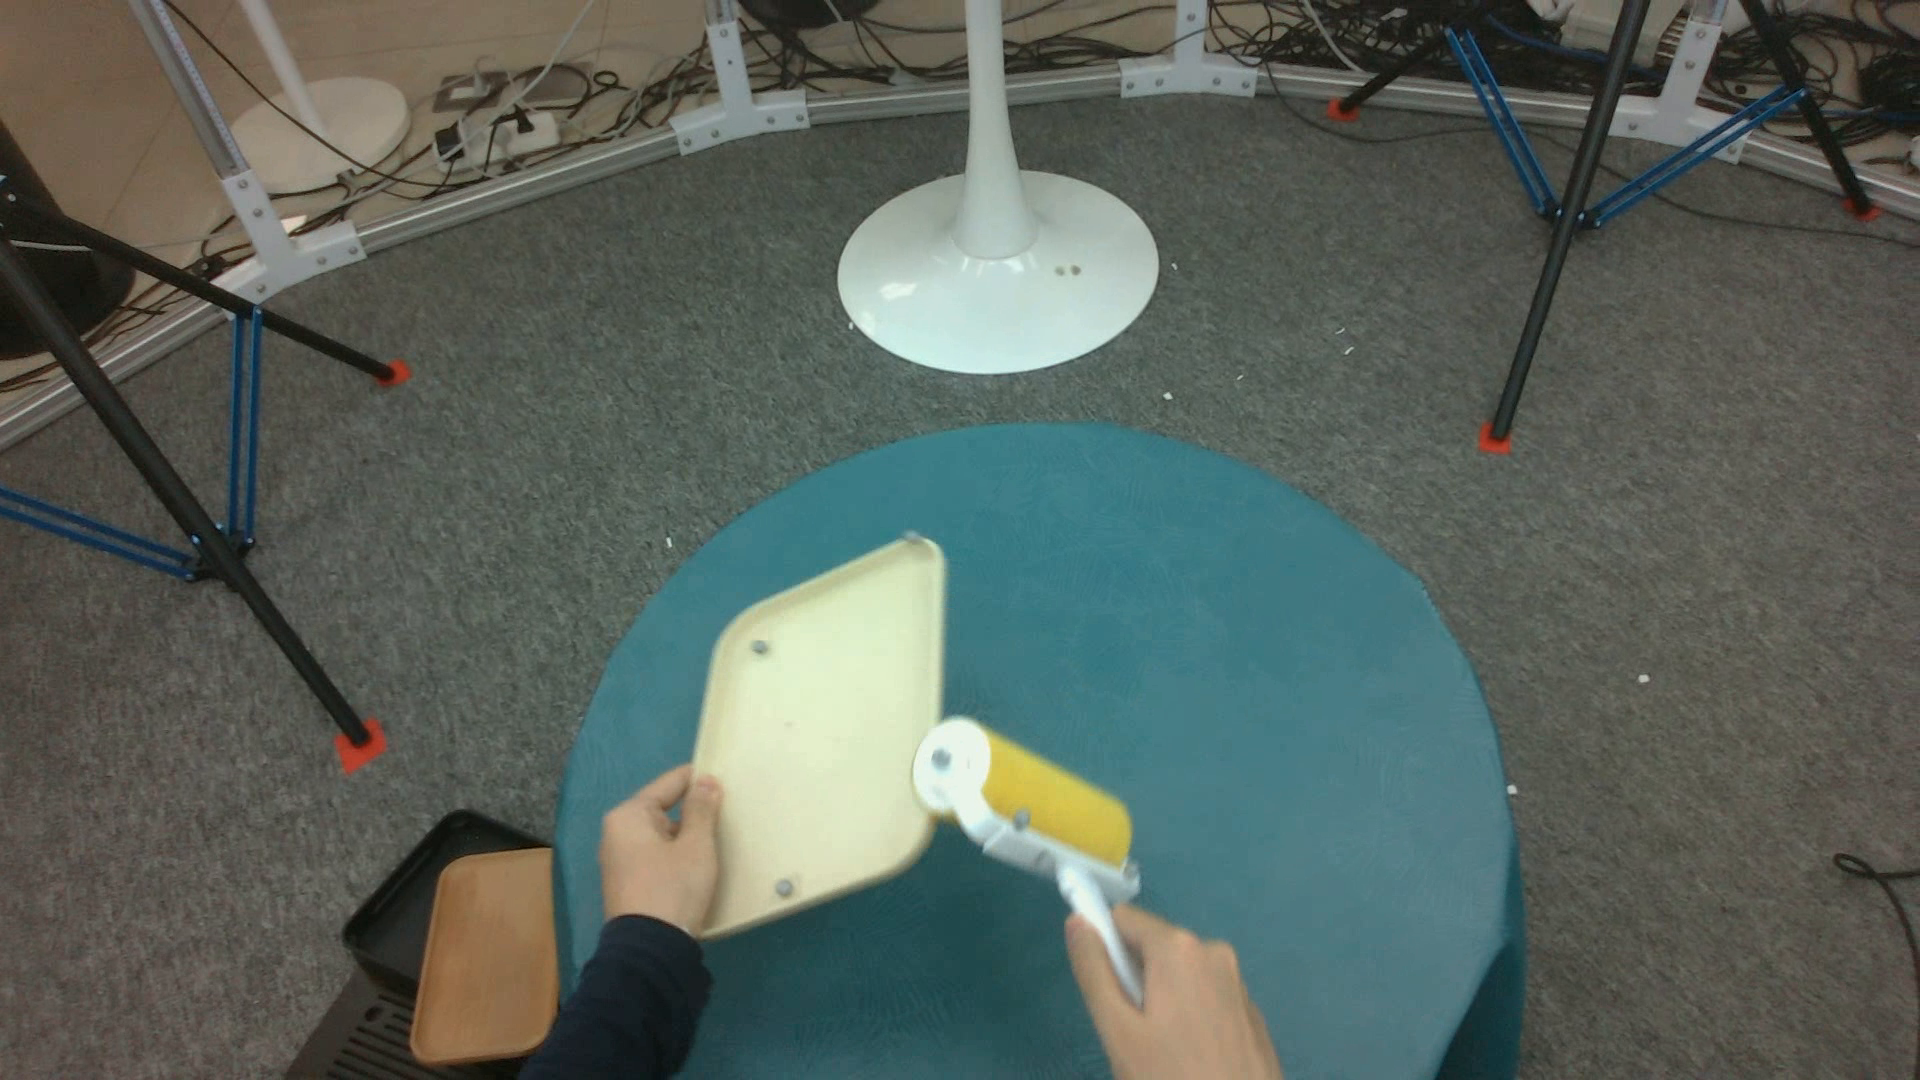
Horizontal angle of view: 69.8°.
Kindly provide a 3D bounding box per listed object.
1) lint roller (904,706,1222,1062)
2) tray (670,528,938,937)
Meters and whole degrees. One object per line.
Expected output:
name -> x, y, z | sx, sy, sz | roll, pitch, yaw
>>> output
lint roller -> 0.074, 0.171, 0.692 | 0.051, 0.174, 0.192 | -51, 52, 4
tray -> -0.083, 0.104, 0.786 | 0.171, 0.017, 0.241 | -24, 40, 21
